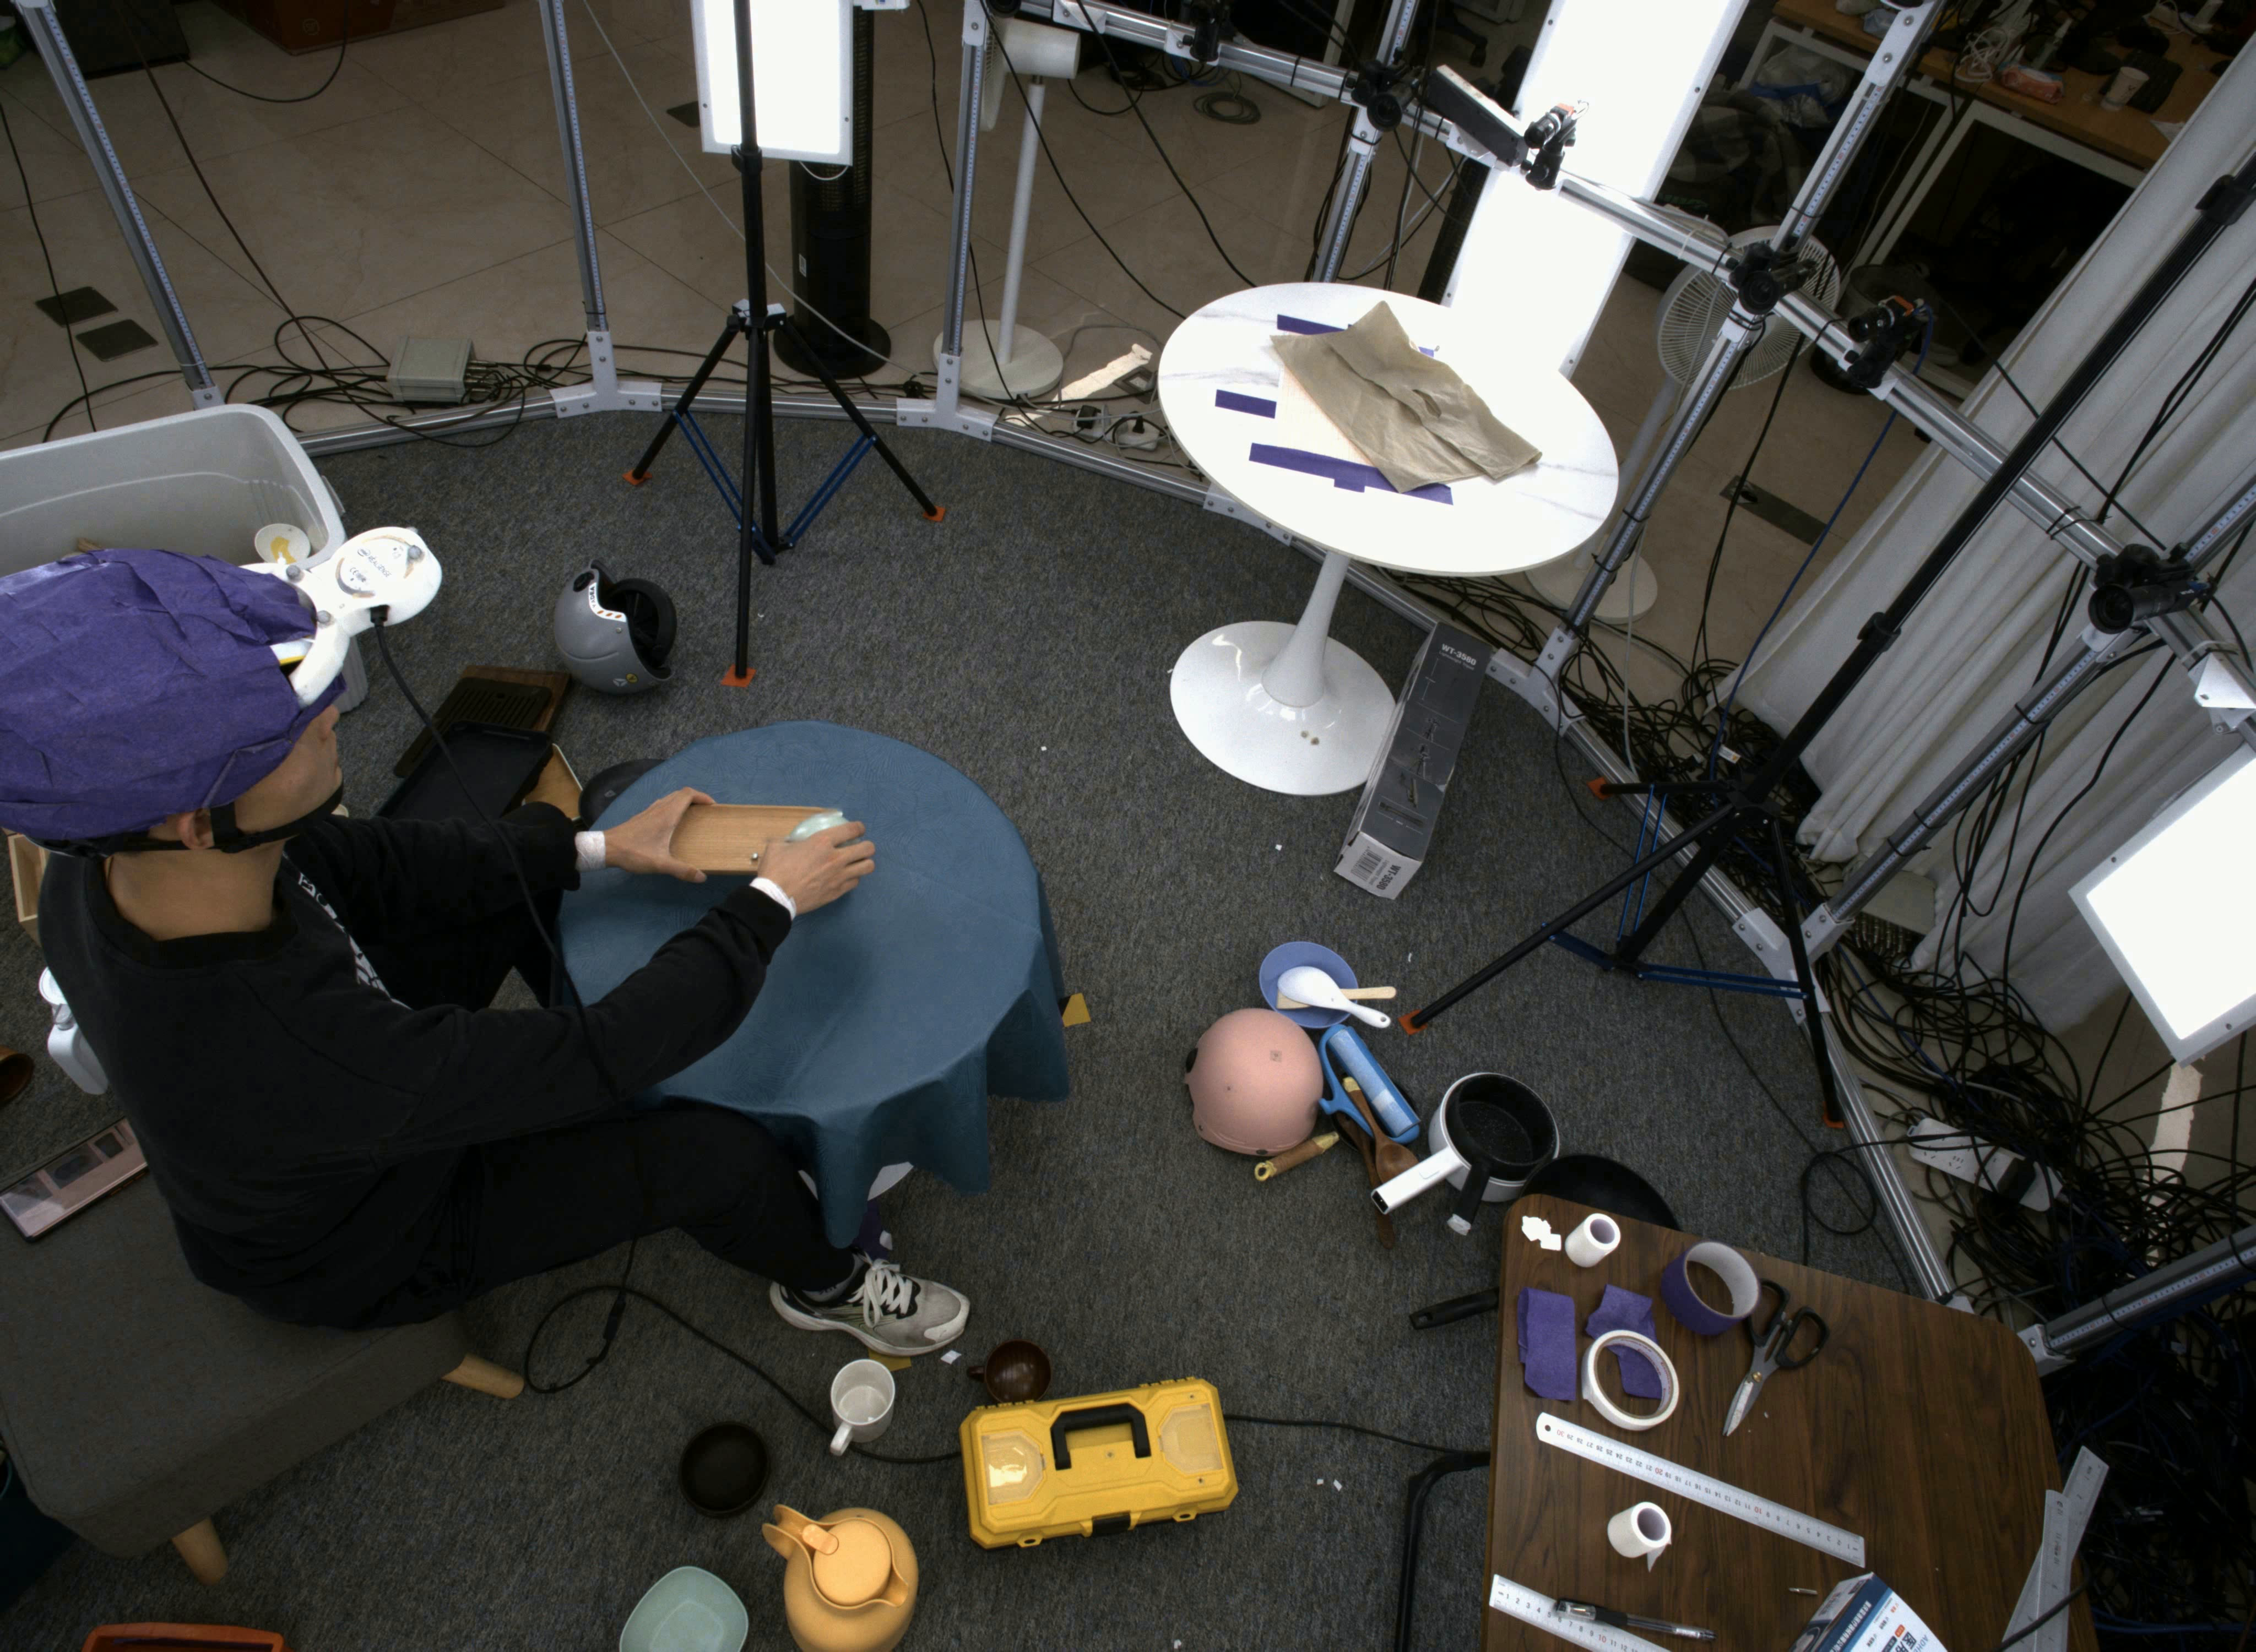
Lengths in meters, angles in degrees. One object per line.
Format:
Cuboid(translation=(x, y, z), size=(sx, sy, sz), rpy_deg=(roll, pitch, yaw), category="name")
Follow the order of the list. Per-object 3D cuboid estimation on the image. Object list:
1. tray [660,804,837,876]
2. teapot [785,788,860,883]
Cuboid(translation=(-0.464, 0.017, 1.614), size=(0.232, 0.020, 0.099), rpy_deg=(0, 55, -19), category="tray")
Cuboid(translation=(-0.365, 0.024, 1.545), size=(0.089, 0.146, 0.073), rpy_deg=(-16, 61, -27), category="teapot")
